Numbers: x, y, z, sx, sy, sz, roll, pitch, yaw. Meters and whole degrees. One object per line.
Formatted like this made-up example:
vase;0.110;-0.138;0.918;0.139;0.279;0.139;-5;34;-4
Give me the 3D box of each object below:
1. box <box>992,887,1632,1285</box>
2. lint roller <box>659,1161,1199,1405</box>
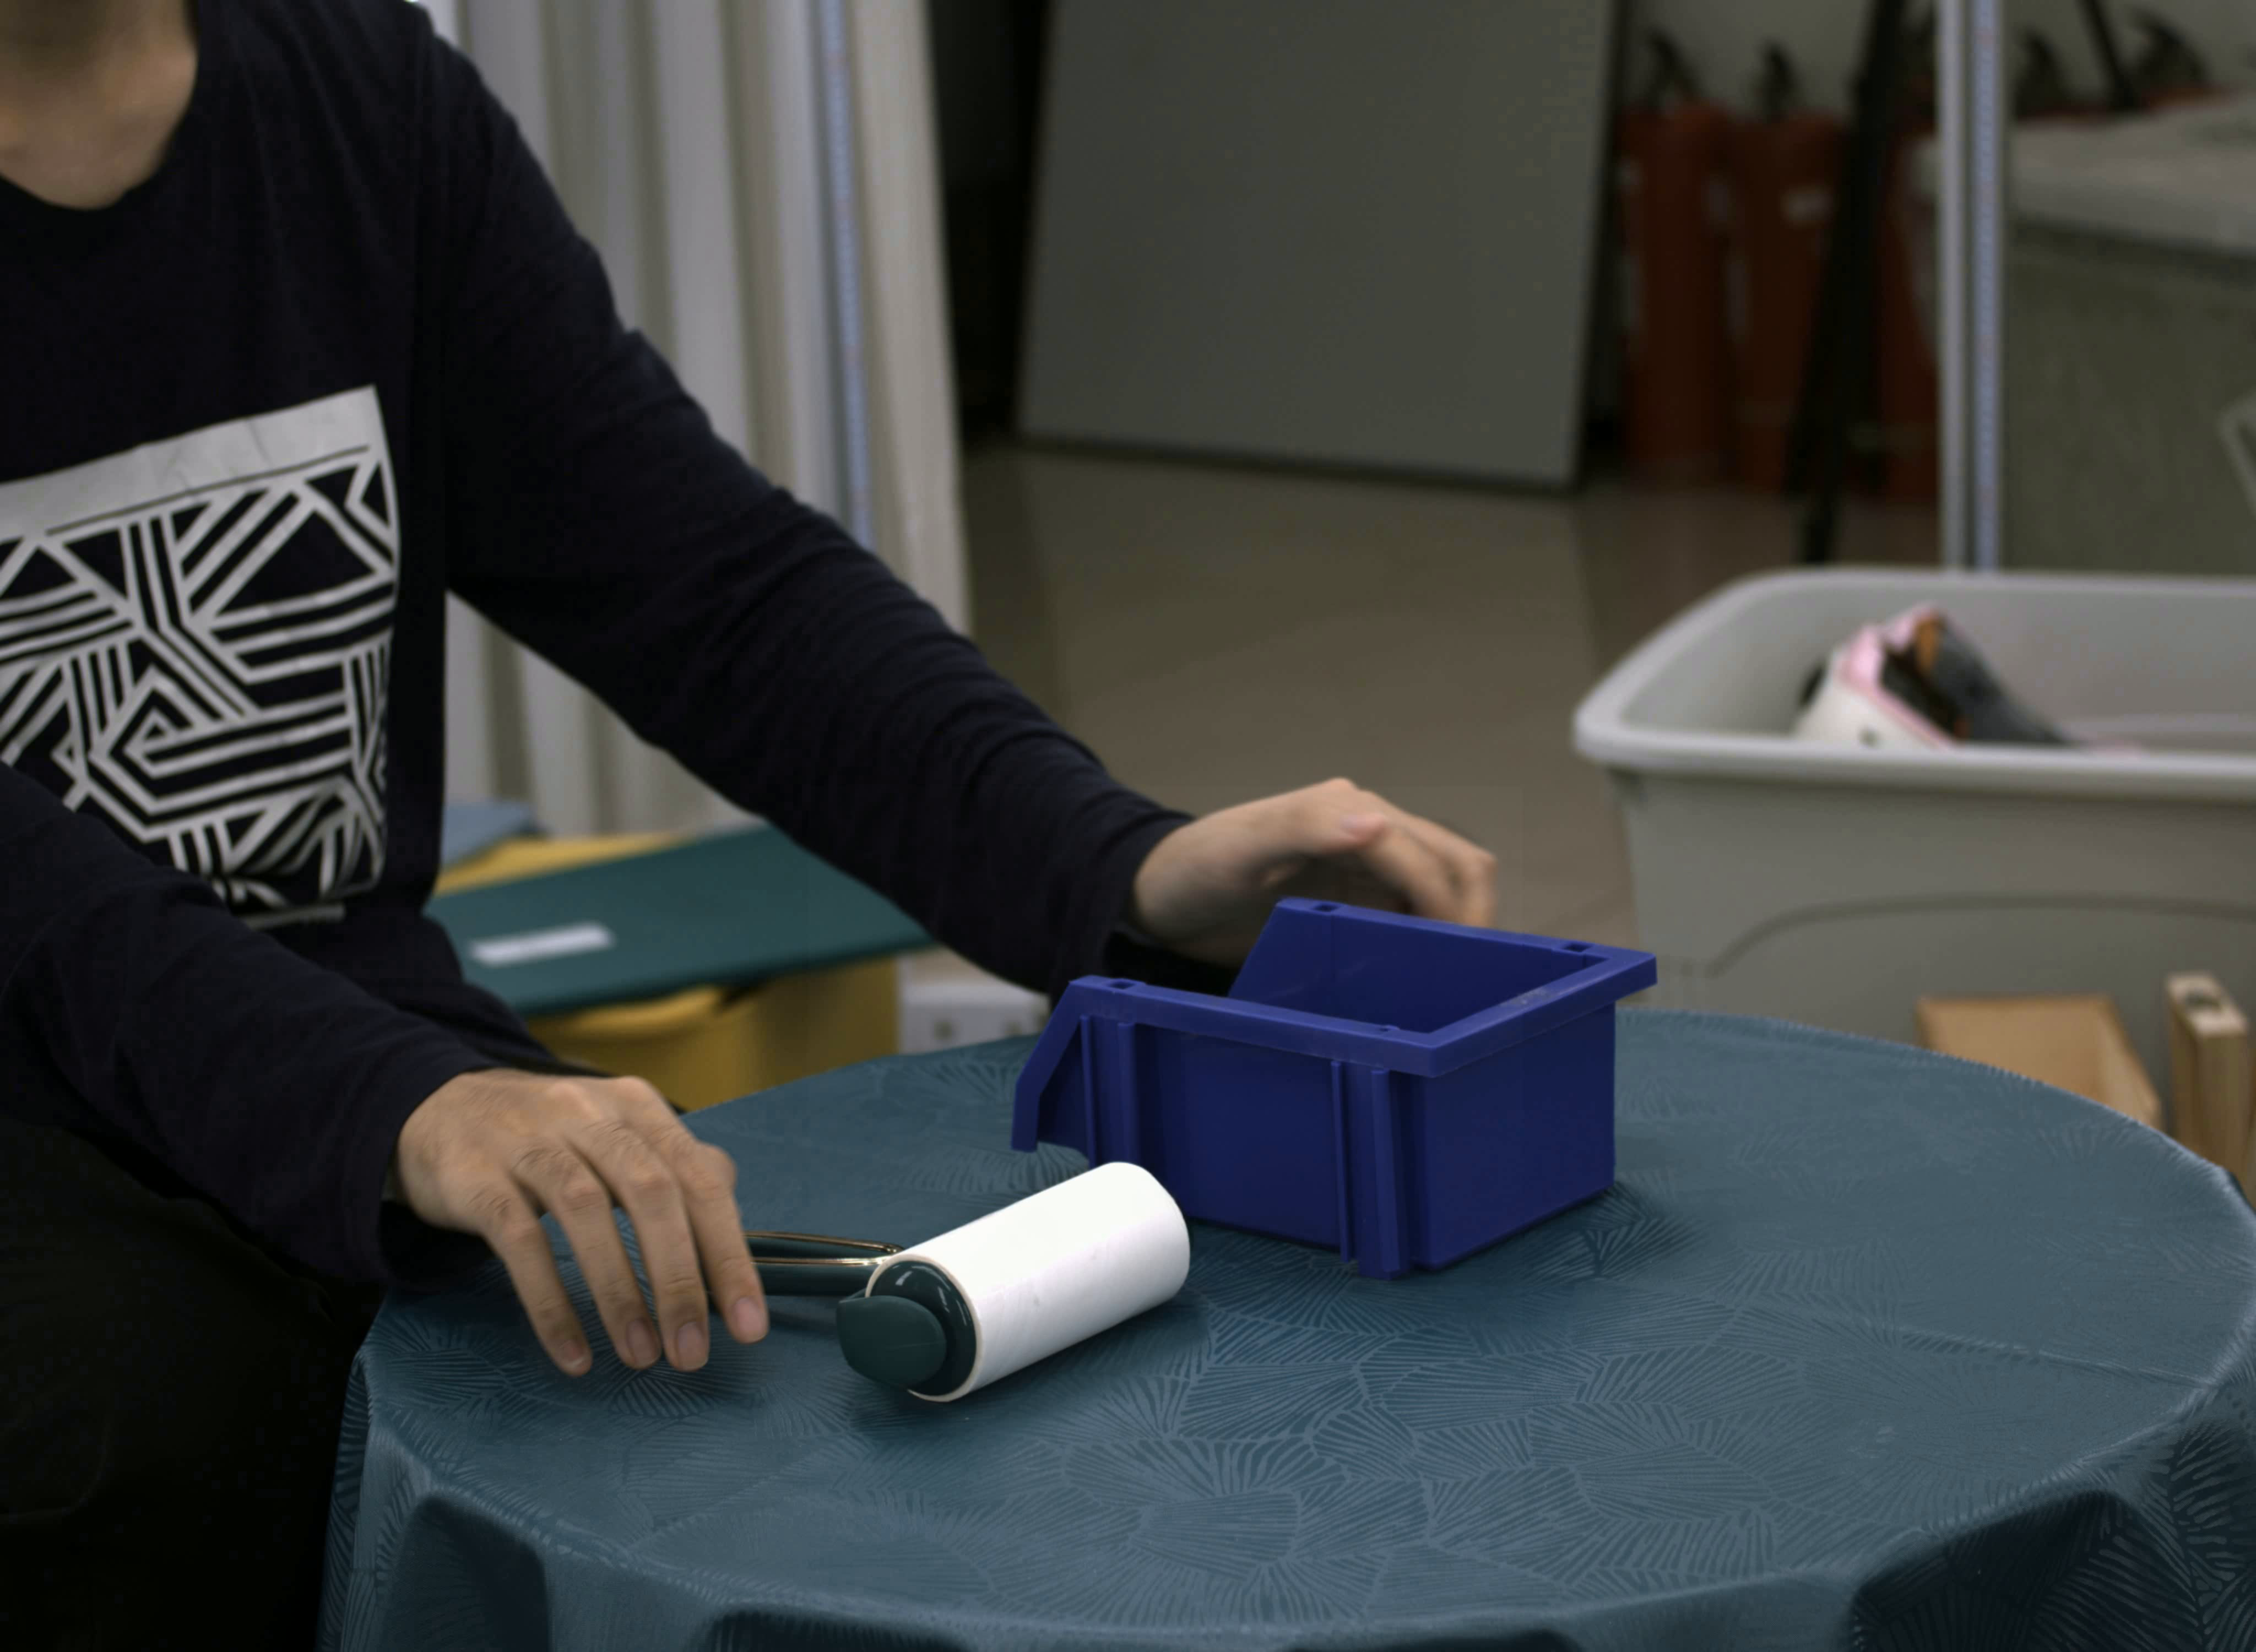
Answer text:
box;0.057;0.081;1.750;0.181;0.083;0.122;12;22;42
lint roller;-0.080;0.135;1.664;0.181;0.049;0.132;1;14;41
